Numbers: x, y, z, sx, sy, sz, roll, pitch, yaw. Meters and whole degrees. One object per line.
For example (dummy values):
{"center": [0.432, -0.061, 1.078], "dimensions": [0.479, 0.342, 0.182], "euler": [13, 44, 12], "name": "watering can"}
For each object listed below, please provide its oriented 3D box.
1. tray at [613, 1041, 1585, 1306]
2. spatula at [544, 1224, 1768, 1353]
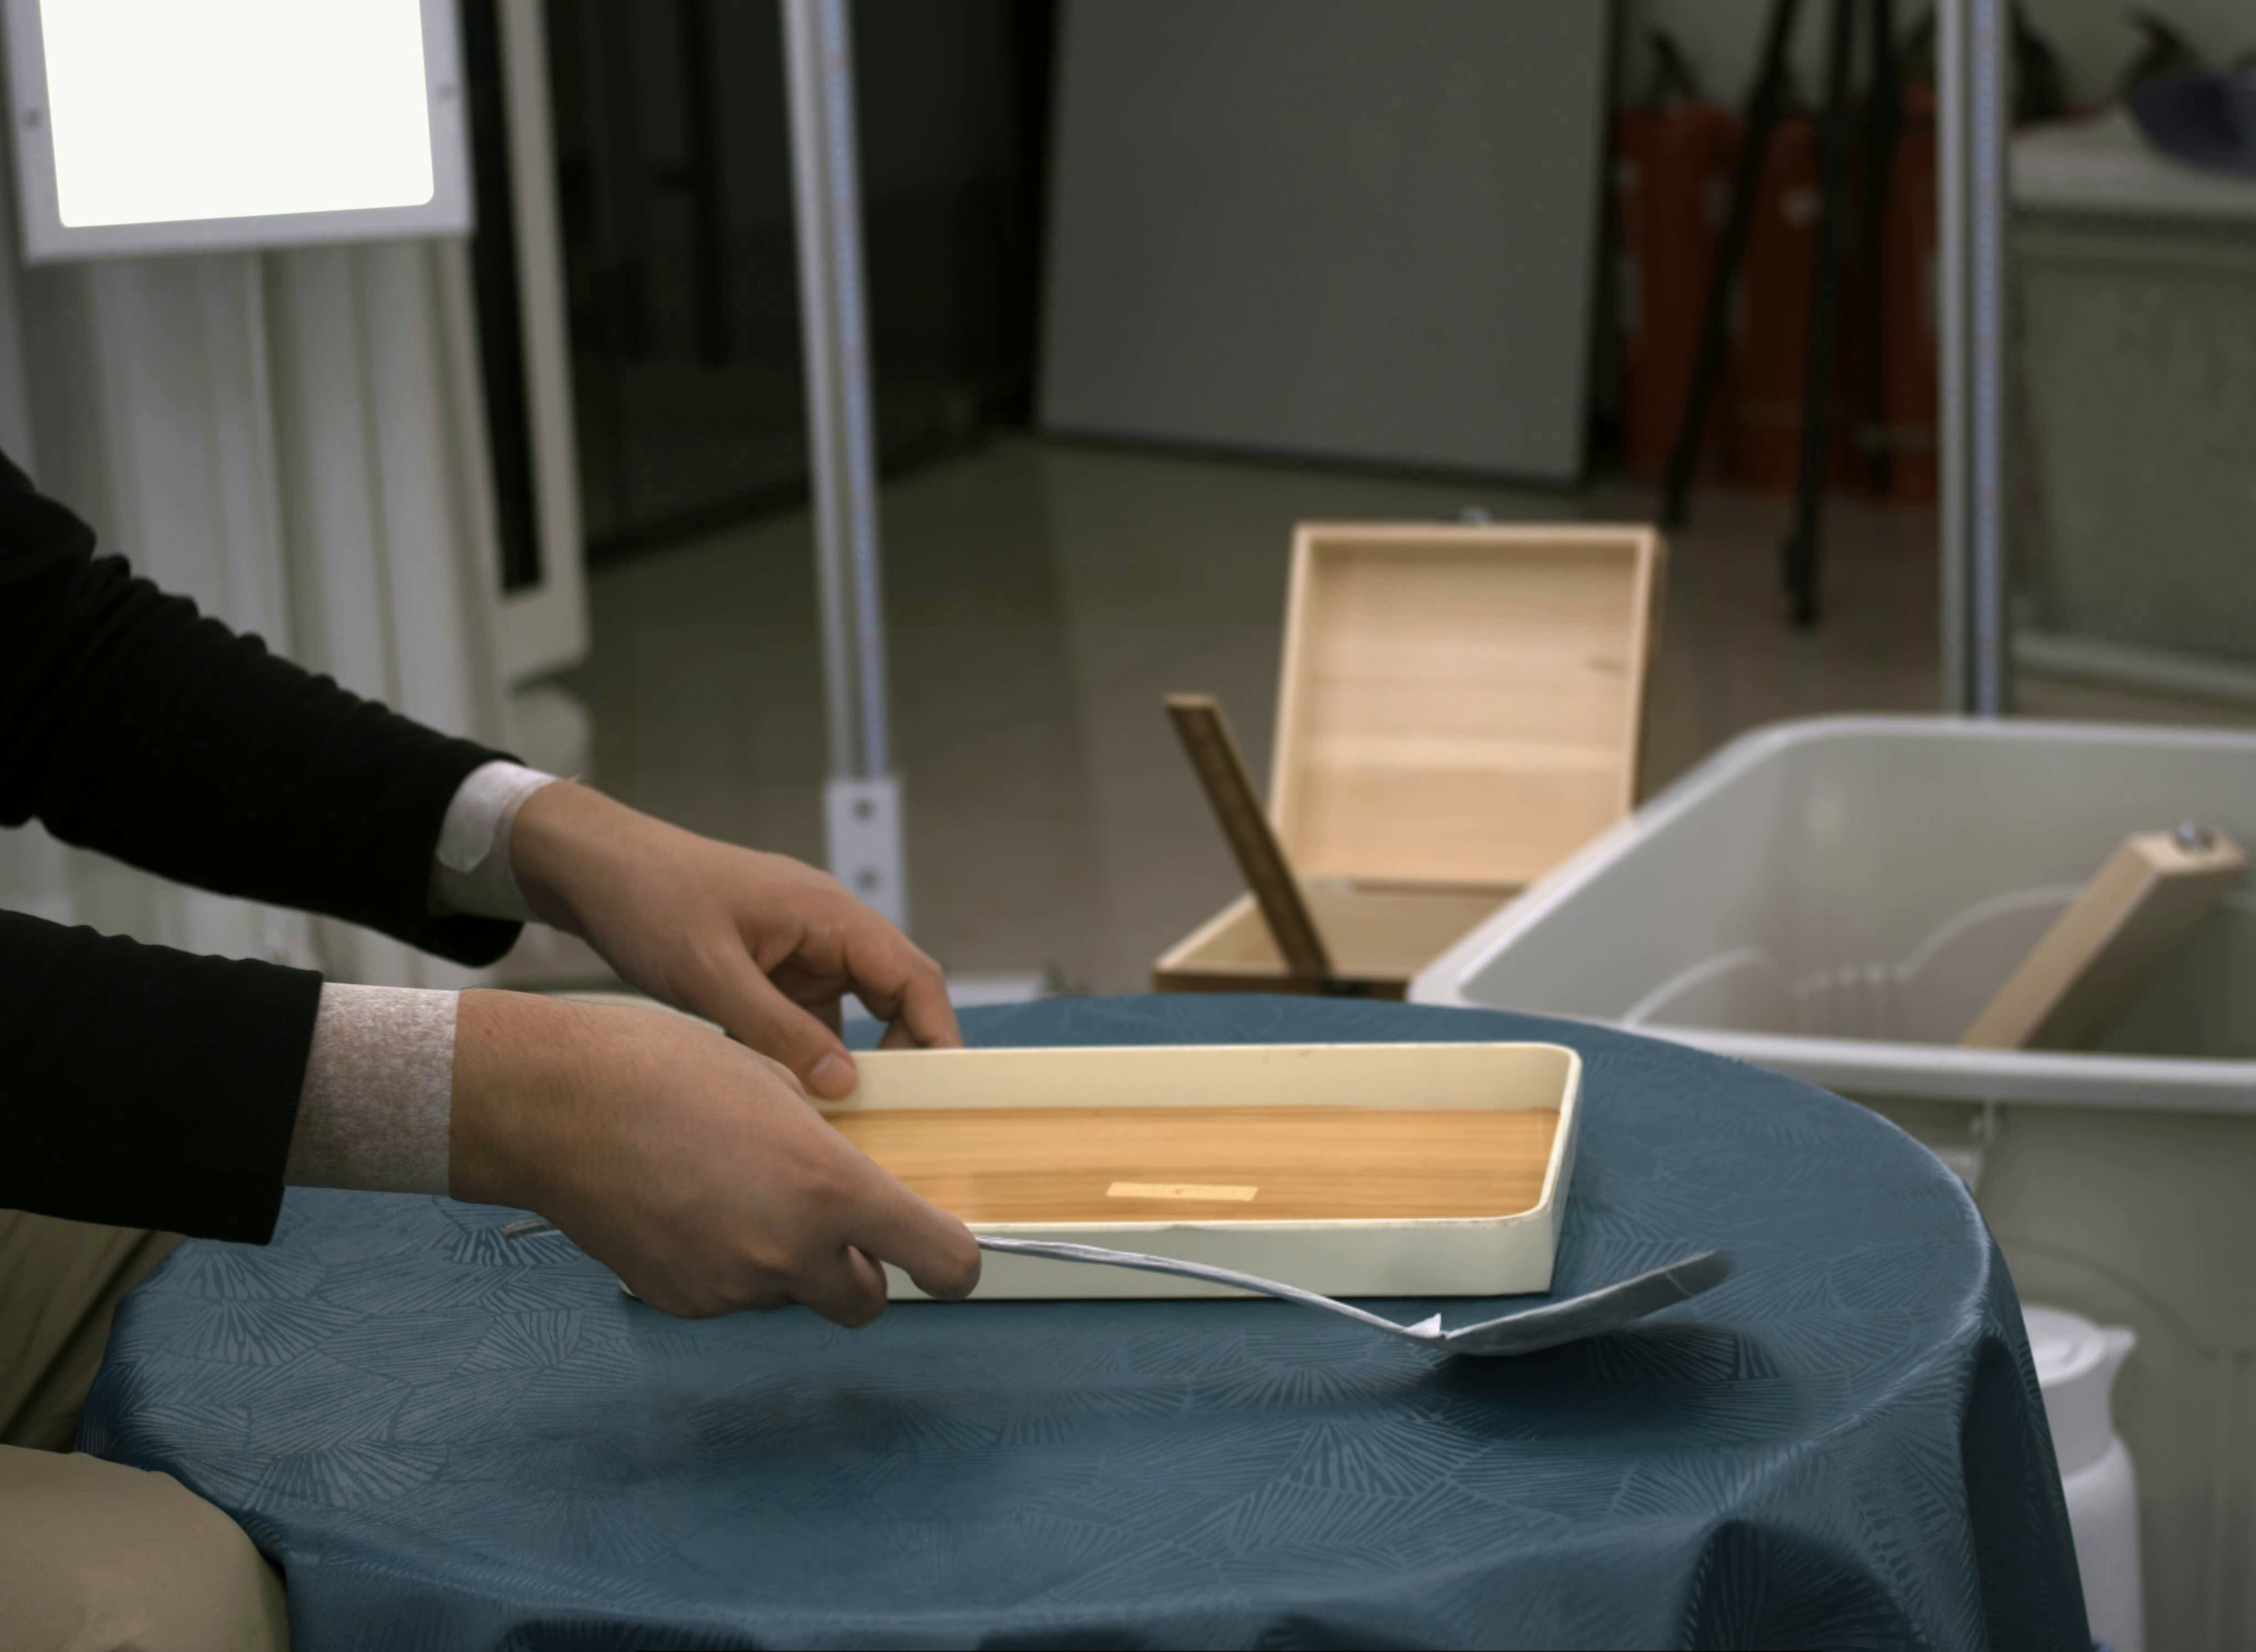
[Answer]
{"center": [-0.004, 0.112, 1.752], "dimensions": [0.298, 0.028, 0.191], "euler": [-2, 14, 11], "name": "tray"}
{"center": [0.006, 0.124, 1.582], "dimensions": [0.361, 0.045, 0.098], "euler": [6, -8, 7], "name": "spatula"}
